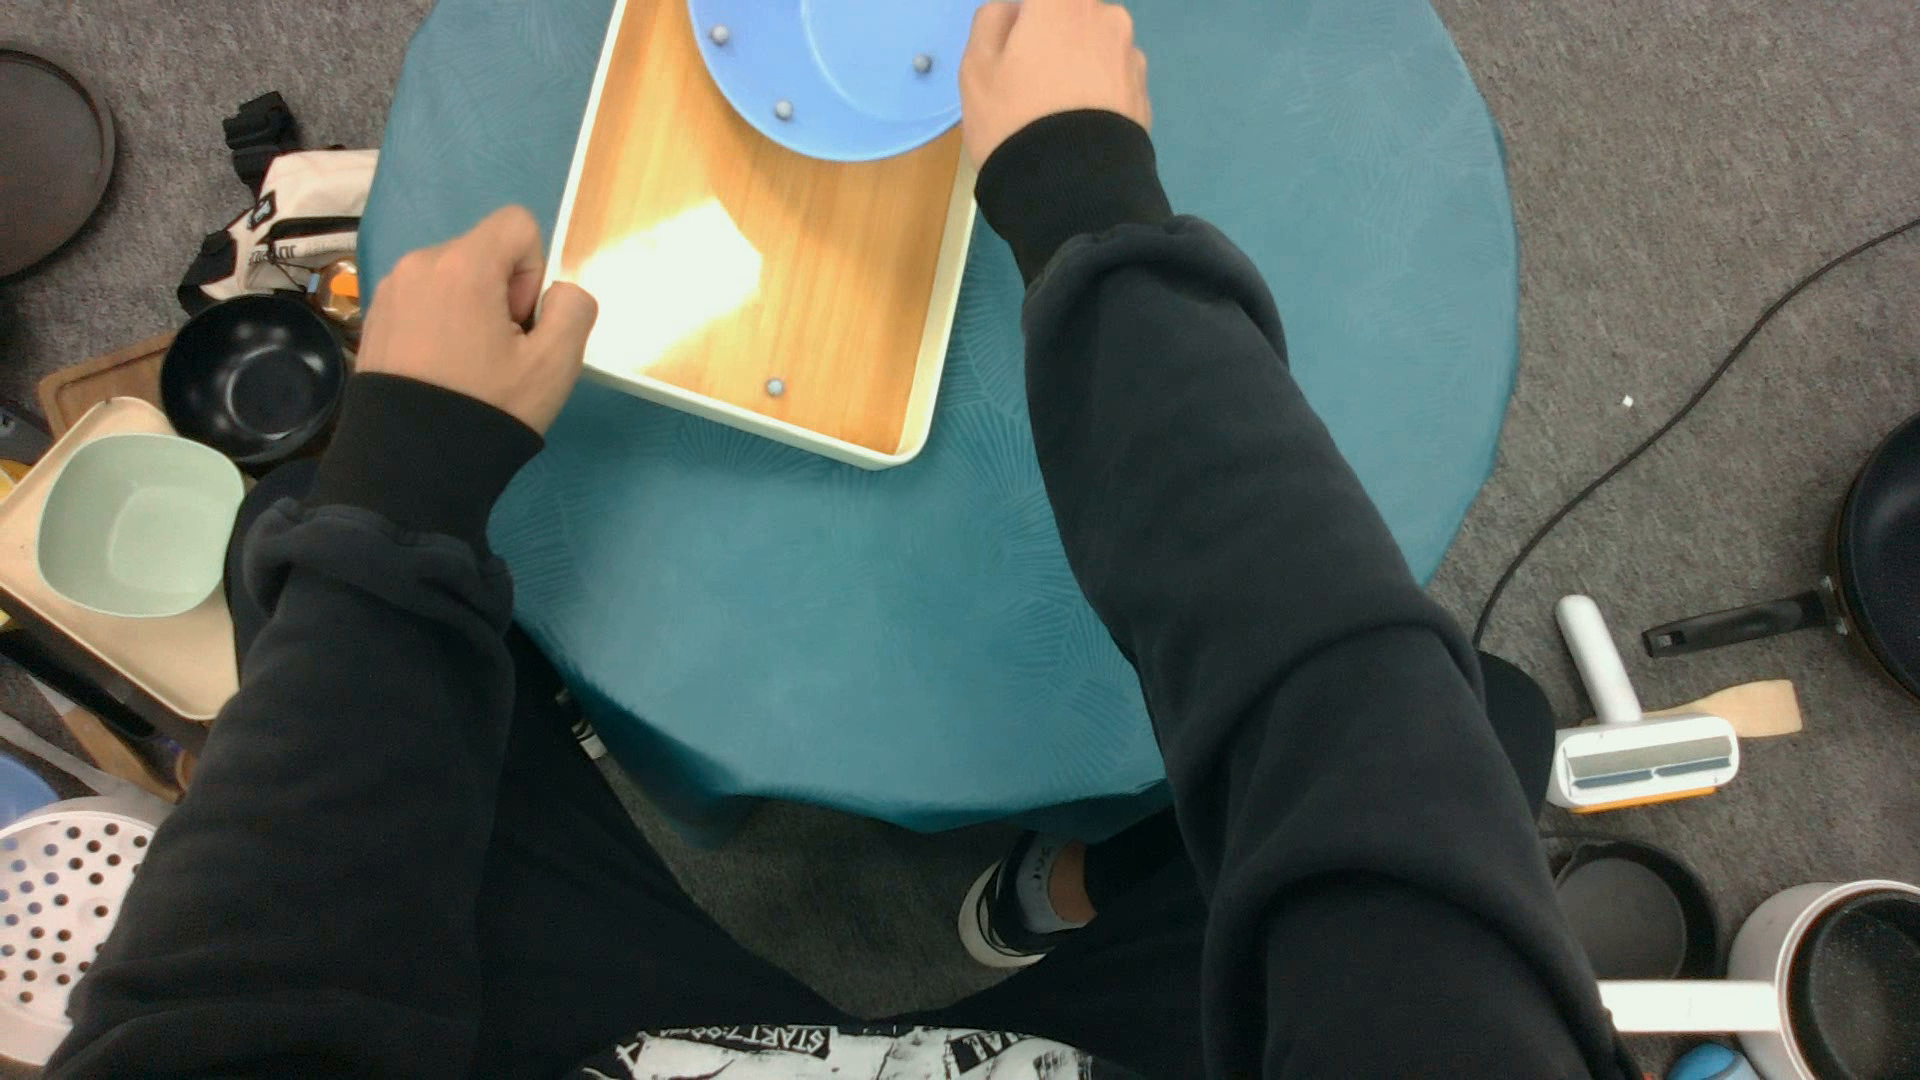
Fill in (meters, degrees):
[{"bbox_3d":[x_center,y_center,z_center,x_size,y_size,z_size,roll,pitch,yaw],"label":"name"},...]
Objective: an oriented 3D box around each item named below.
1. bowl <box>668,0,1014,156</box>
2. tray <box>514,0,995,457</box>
[{"bbox_3d":[-0.043,-0.261,0.632,0.176,0.070,0.176,2,96,21],"label":"bowl"},{"bbox_3d":[-0.088,-0.205,0.672,0.192,0.027,0.301,17,75,-25],"label":"tray"}]
